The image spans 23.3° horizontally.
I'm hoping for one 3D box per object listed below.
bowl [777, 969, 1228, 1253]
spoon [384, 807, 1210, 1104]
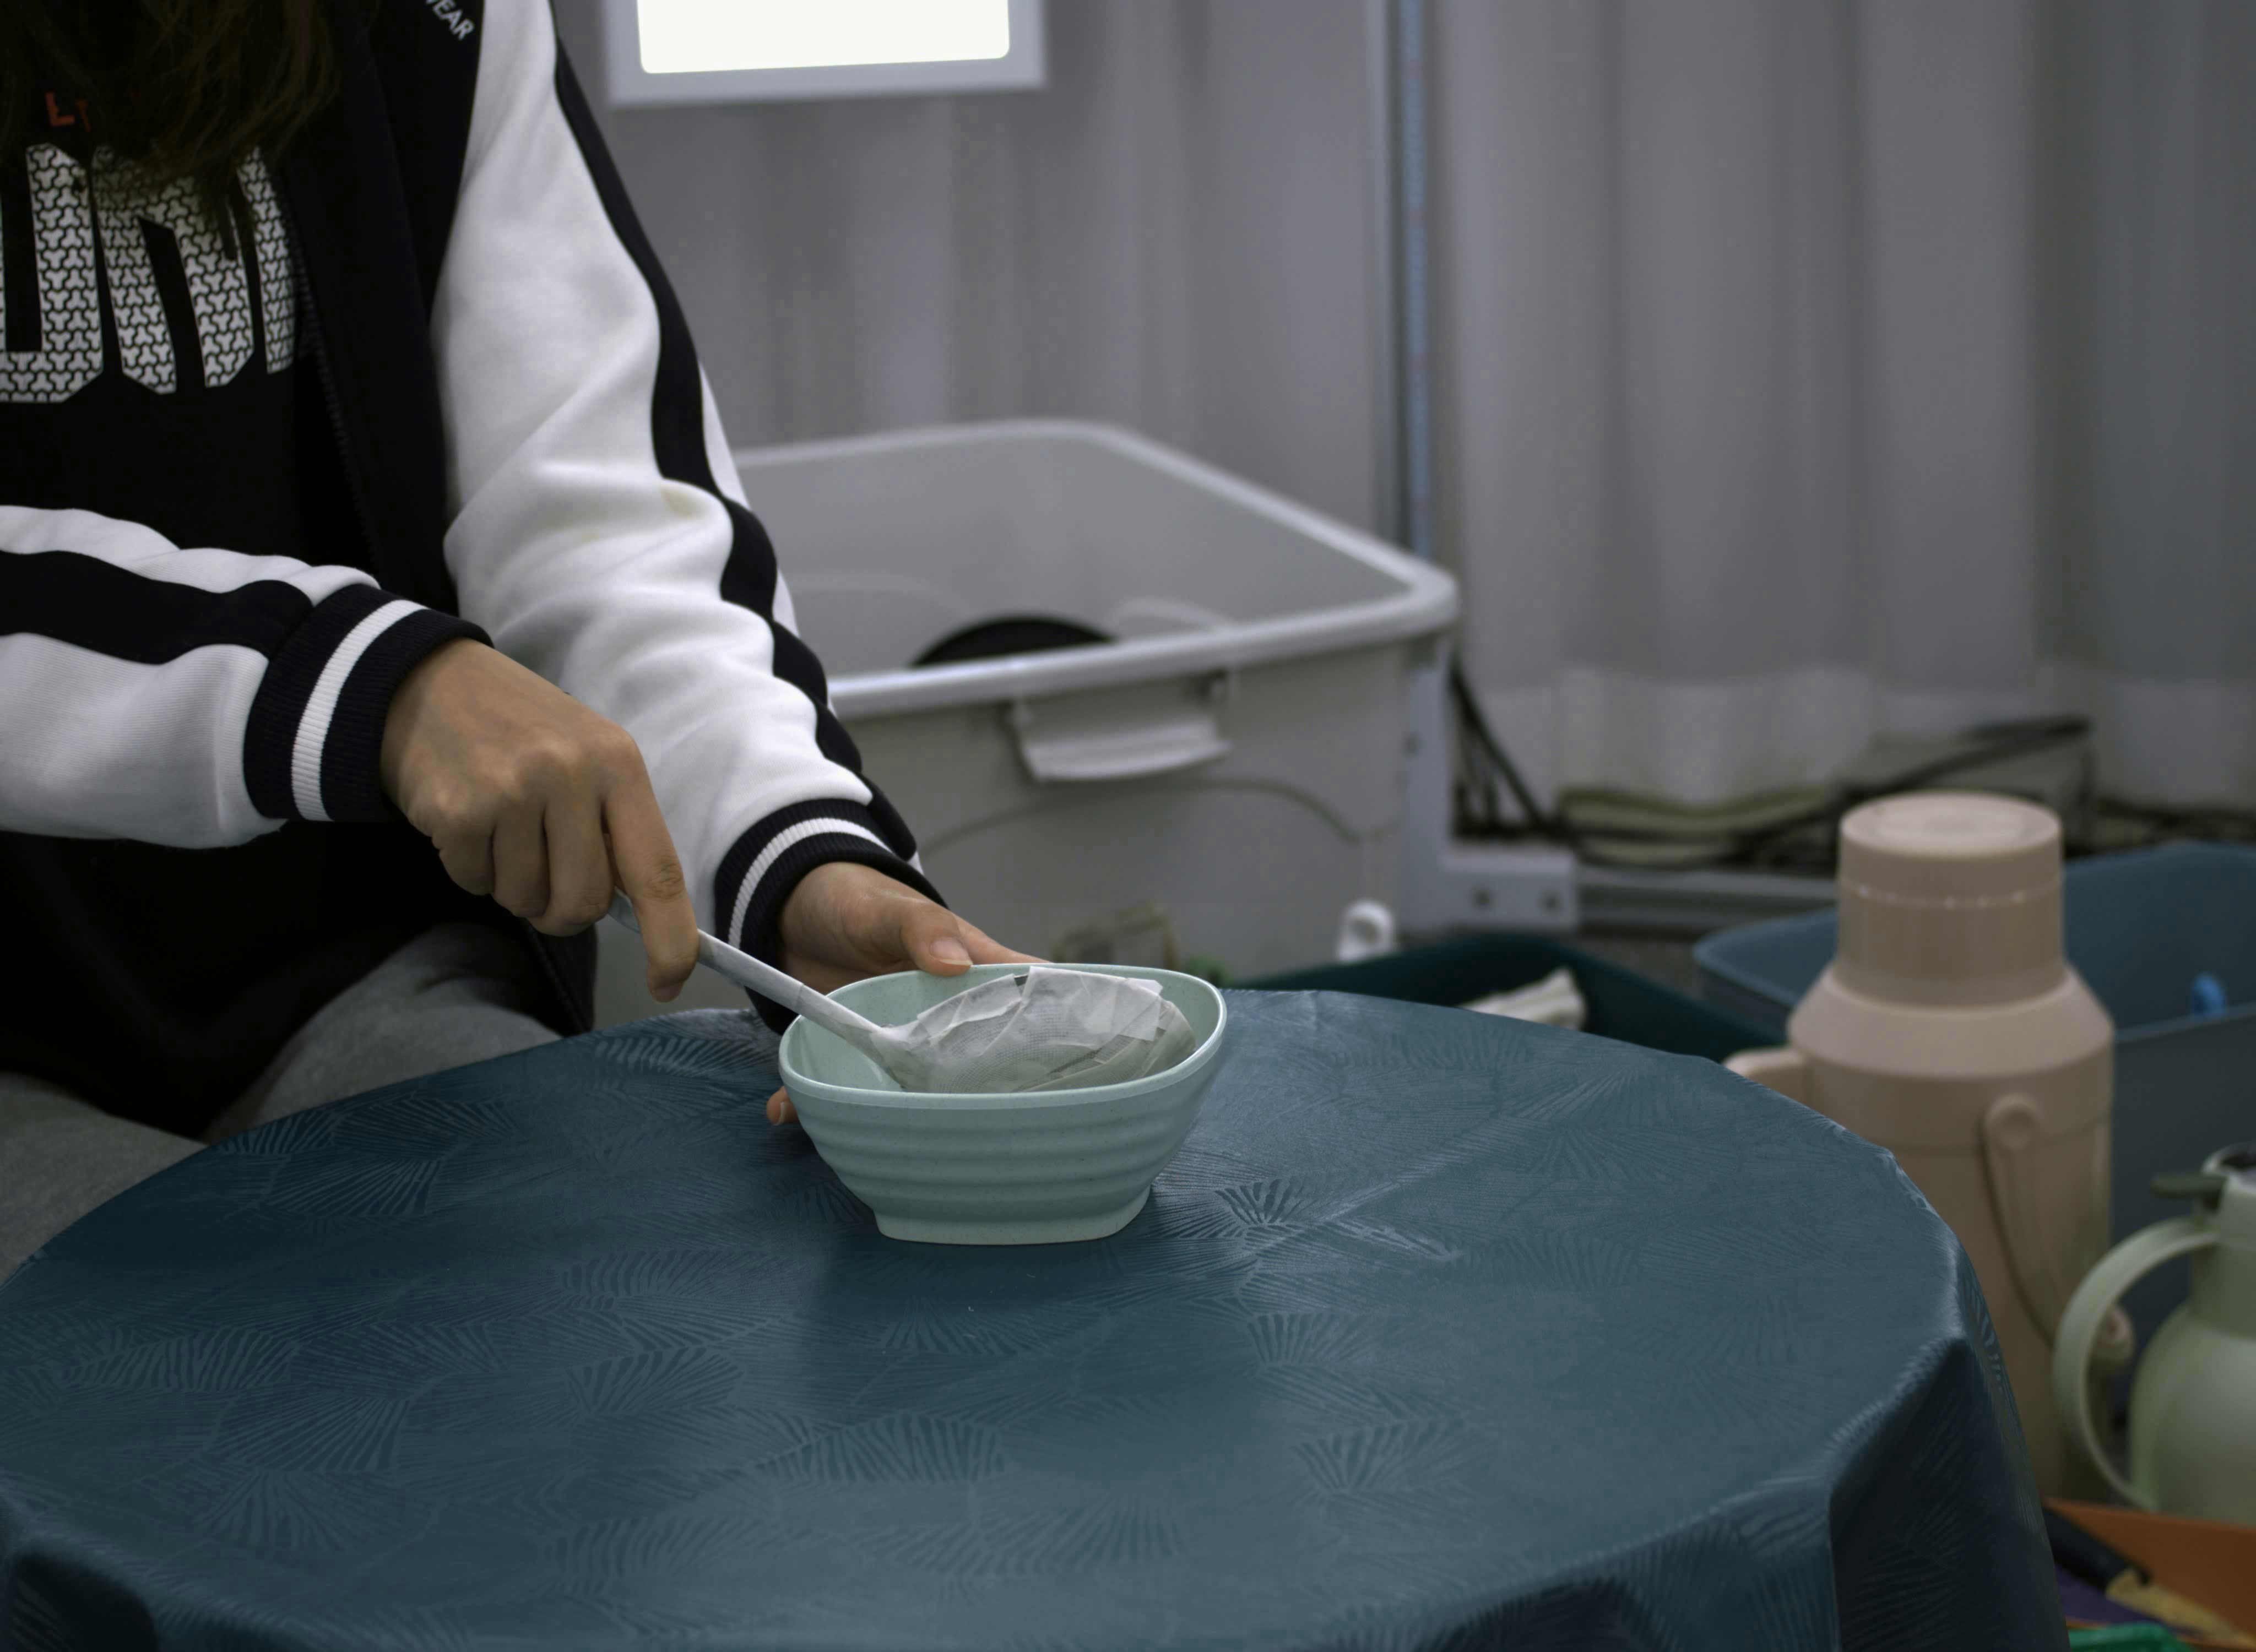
[{"bbox_3d":[-0.038,0.092,1.705,0.151,0.058,0.152,-2,15,0],"label":"bowl"},{"bbox_3d":[-0.107,0.038,1.743,0.278,0.099,0.060,24,50,19],"label":"spoon"}]
